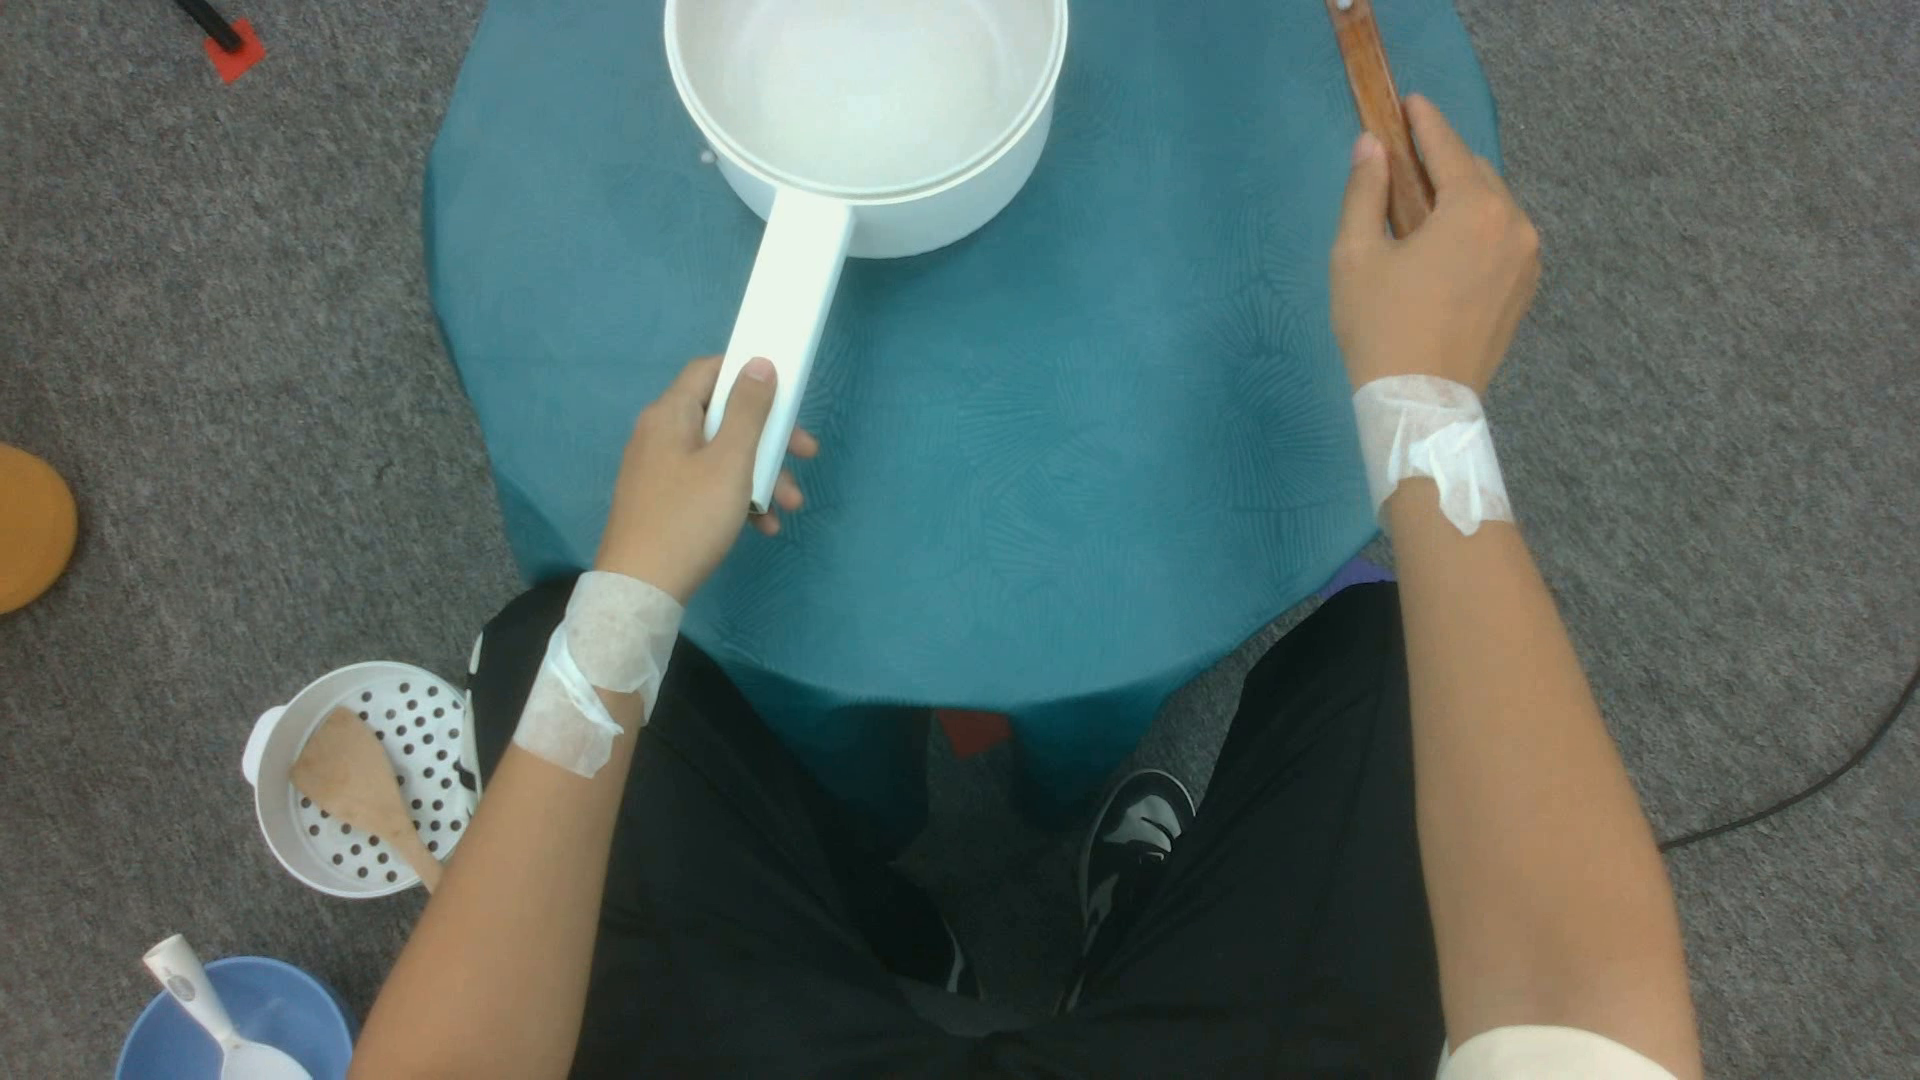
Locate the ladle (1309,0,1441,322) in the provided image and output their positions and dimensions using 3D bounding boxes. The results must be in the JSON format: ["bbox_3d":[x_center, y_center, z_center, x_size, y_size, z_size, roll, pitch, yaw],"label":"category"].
[{"bbox_3d":[0.180,-0.238,0.651,0.081,0.076,0.275,-20,63,30],"label":"ladle"}]

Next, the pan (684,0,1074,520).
[{"bbox_3d":[-0.061,-0.175,0.734,0.201,0.102,0.355,15,78,4],"label":"pan"}]
